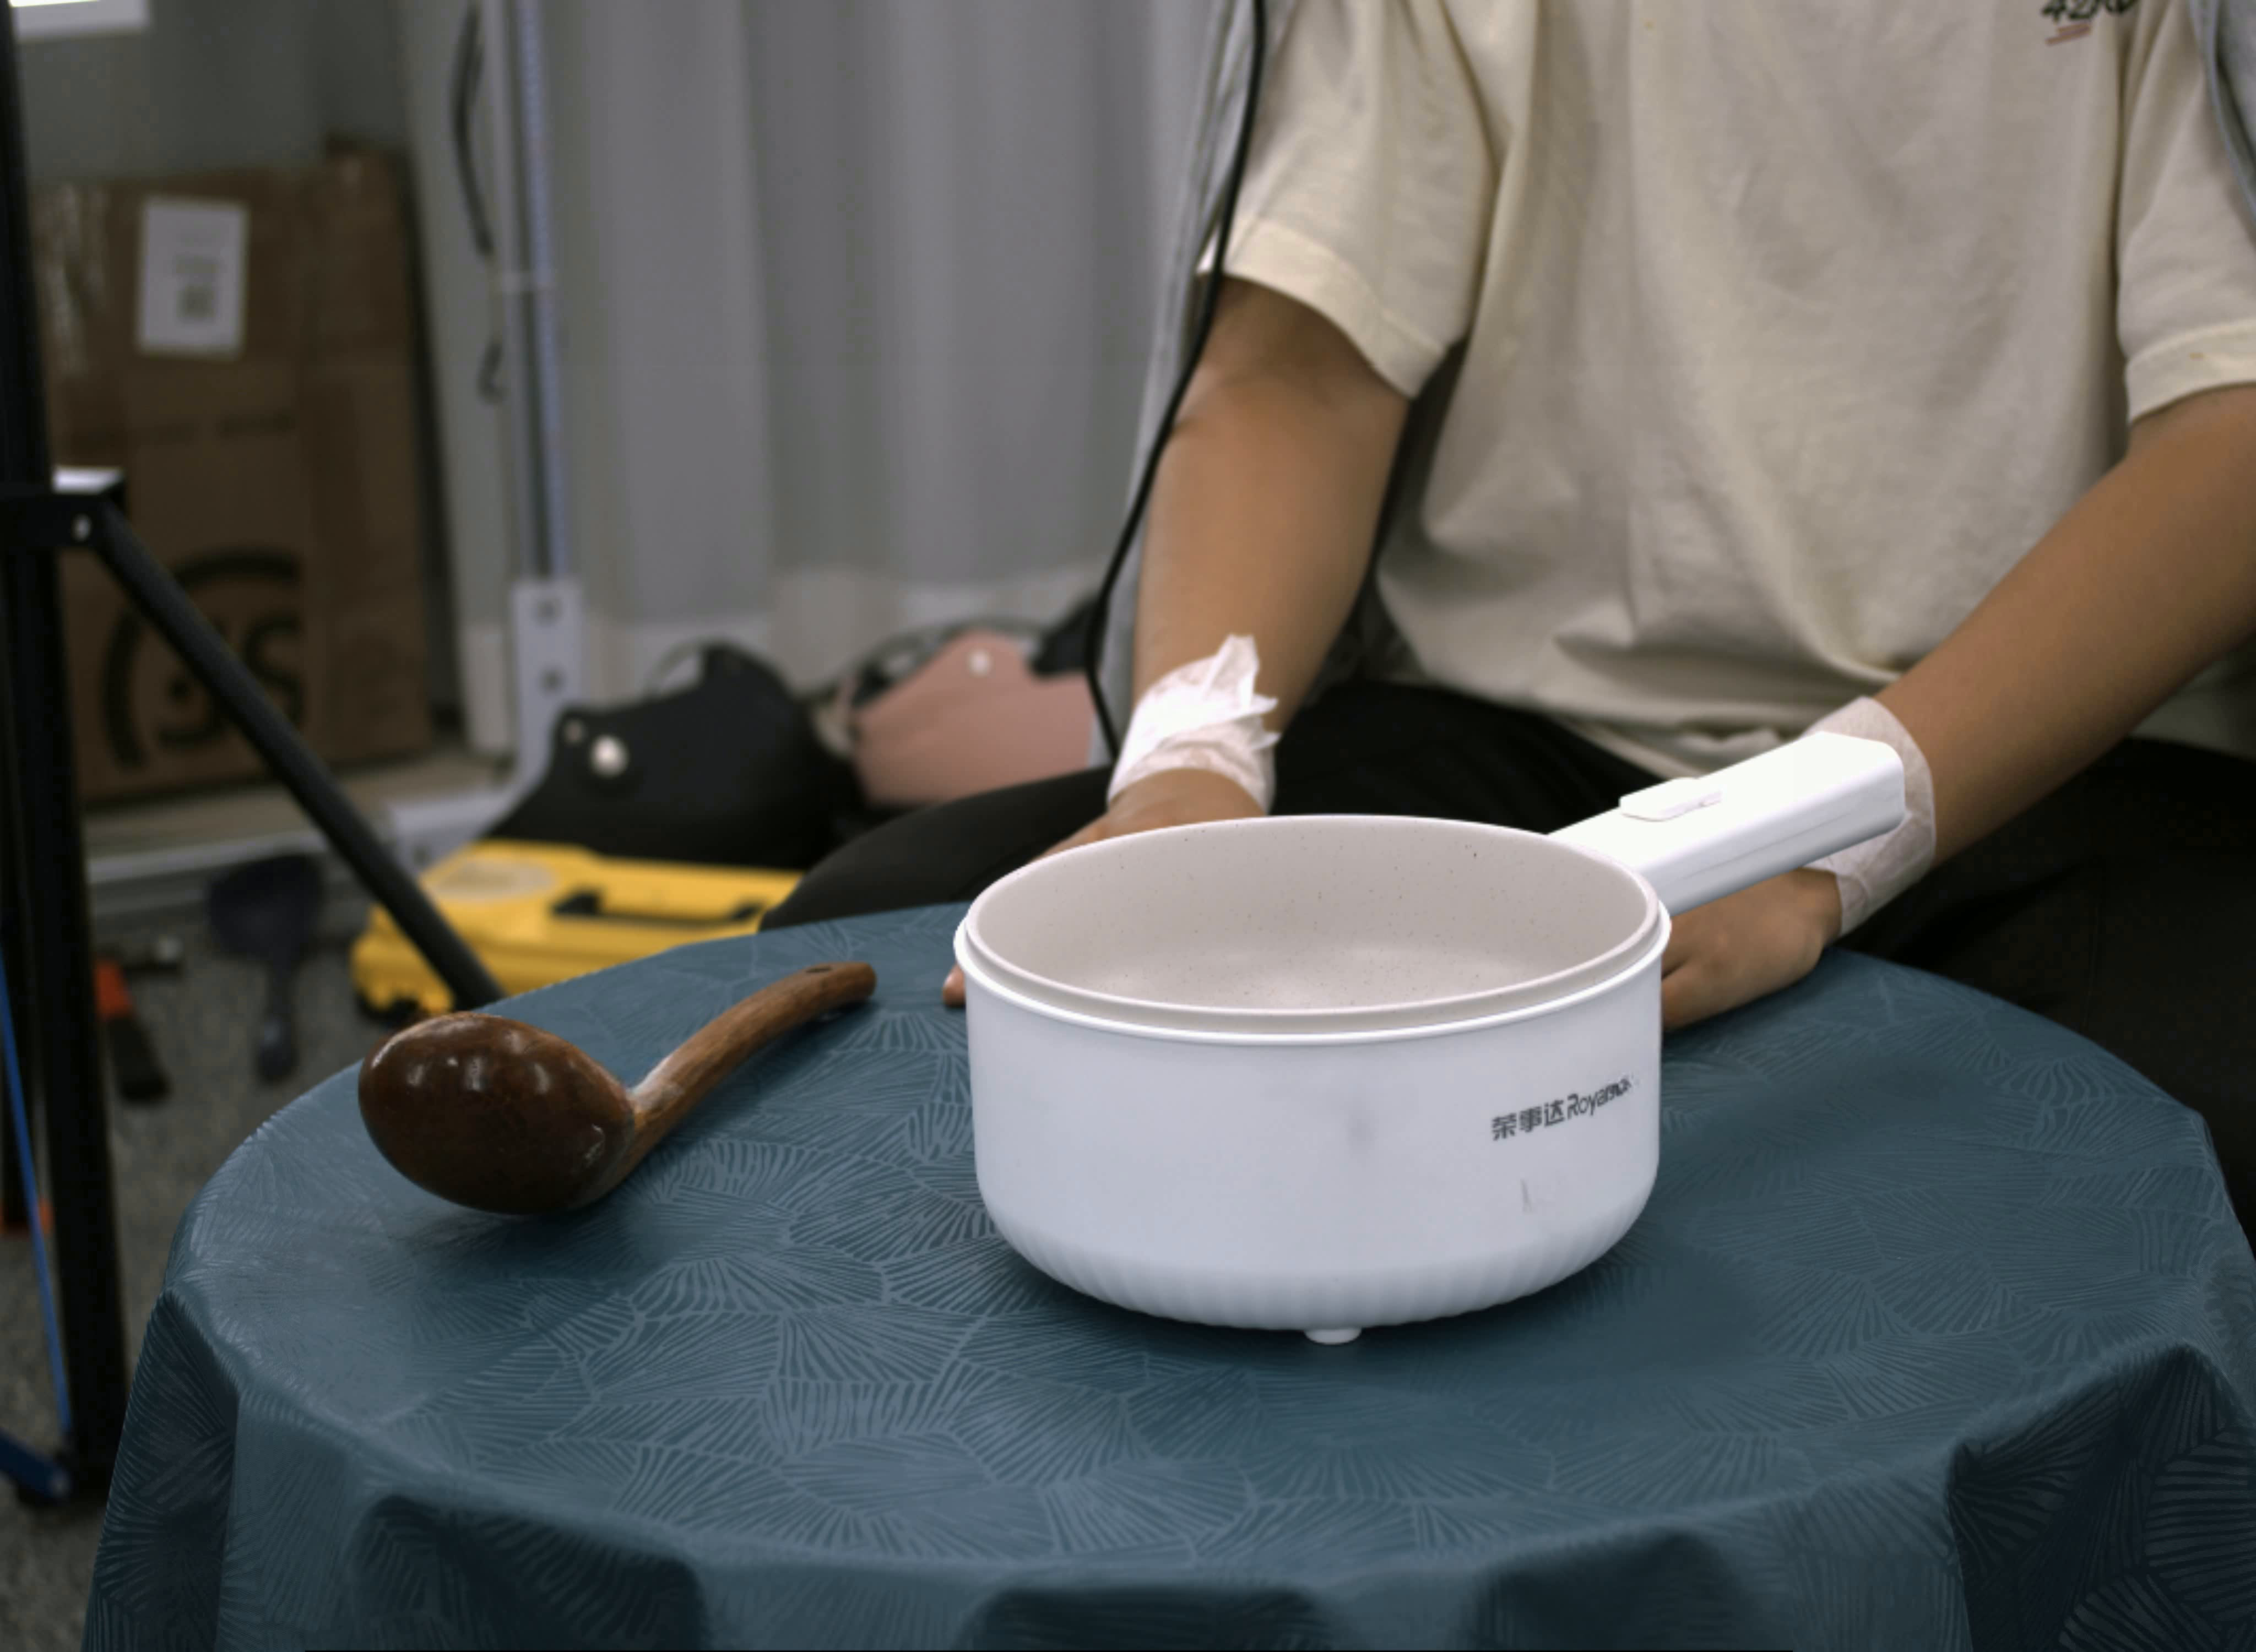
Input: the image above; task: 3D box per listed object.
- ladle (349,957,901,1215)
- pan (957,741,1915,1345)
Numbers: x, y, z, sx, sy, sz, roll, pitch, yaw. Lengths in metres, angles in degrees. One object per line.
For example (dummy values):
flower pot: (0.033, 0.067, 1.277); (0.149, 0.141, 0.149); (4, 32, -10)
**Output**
ladle: (-0.144, 0.054, 1.626); (0.083, 0.076, 0.270); (2, 17, 24)
pan: (0.107, 0.057, 1.544); (0.346, 0.102, 0.206); (-16, 19, -42)
